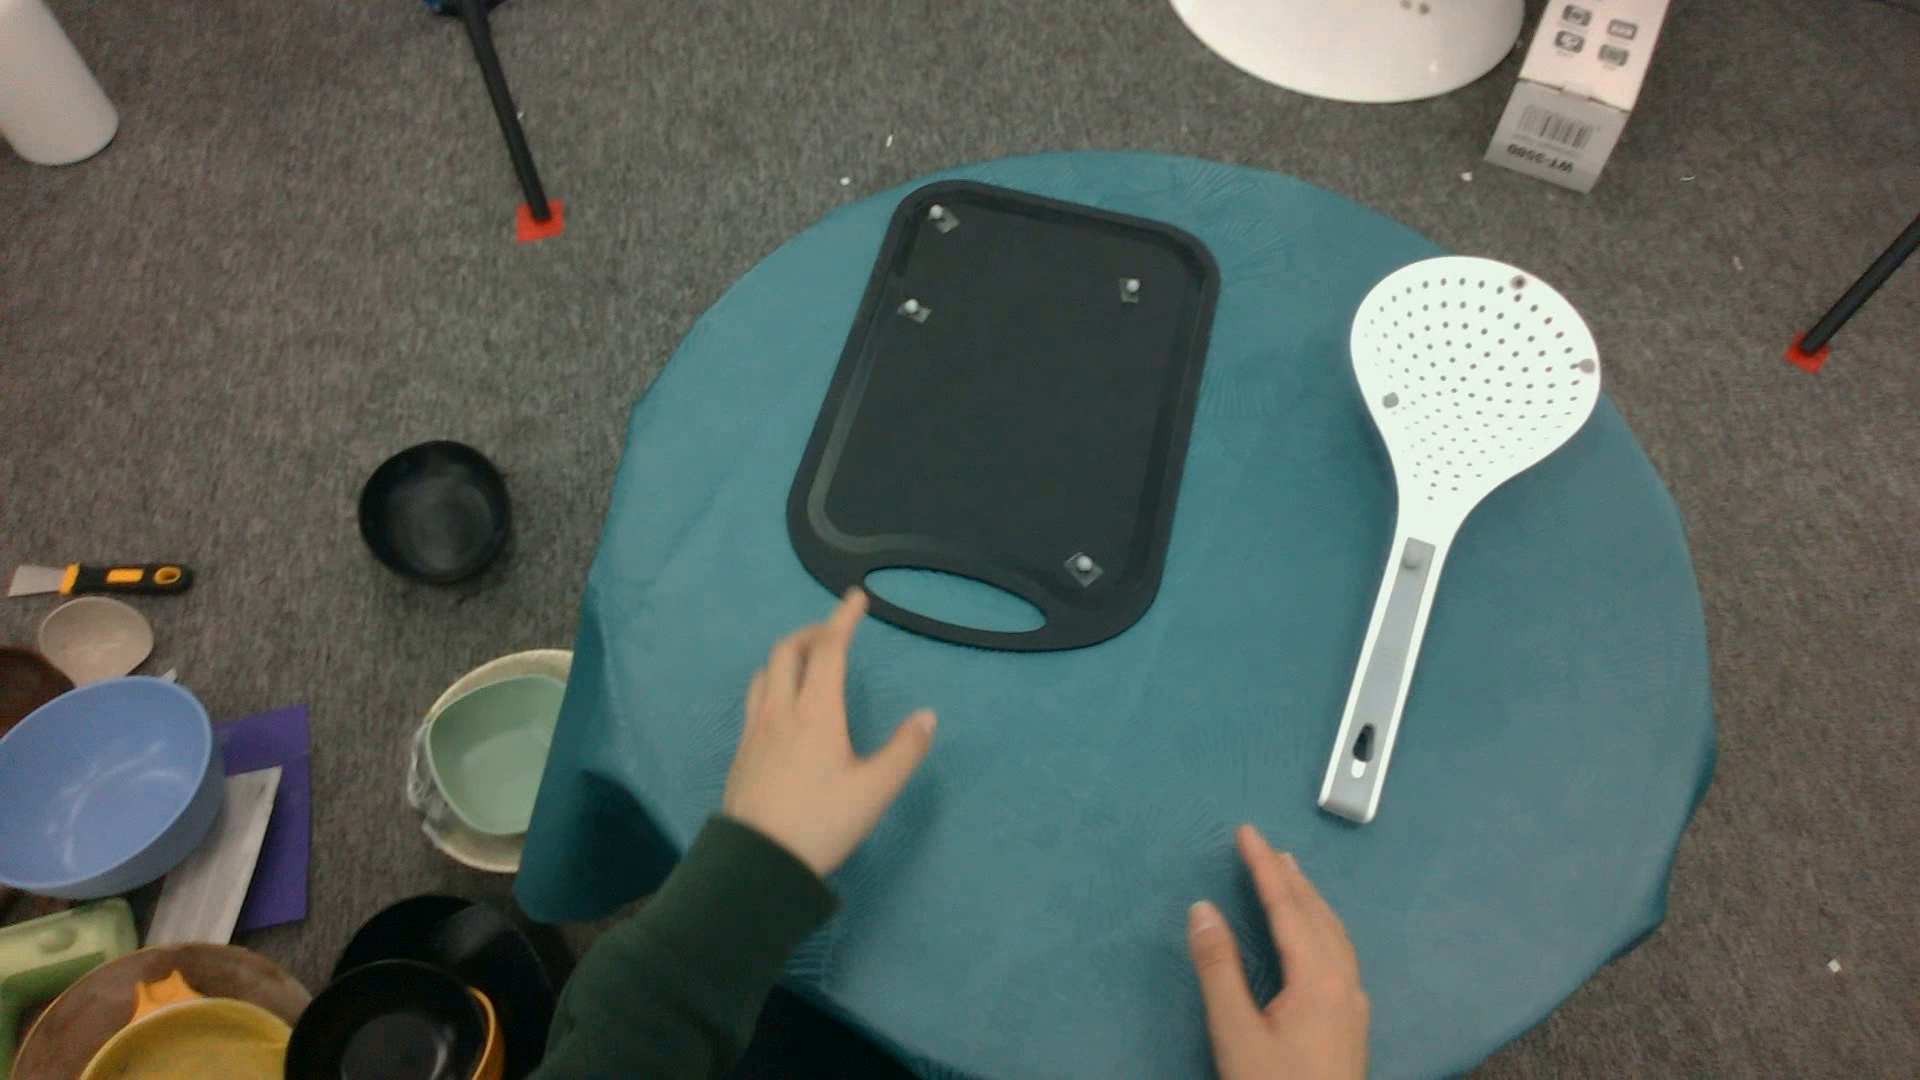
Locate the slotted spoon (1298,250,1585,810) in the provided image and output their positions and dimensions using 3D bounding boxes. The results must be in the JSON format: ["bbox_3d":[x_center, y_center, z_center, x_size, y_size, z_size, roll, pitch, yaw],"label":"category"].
[{"bbox_3d":[0.245,-0.016,0.746,0.136,0.045,0.351,20,61,10],"label":"slotted spoon"}]

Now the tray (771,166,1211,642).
[{"bbox_3d":[0.024,-0.089,0.796,0.211,0.010,0.327,14,60,5],"label":"tray"}]
